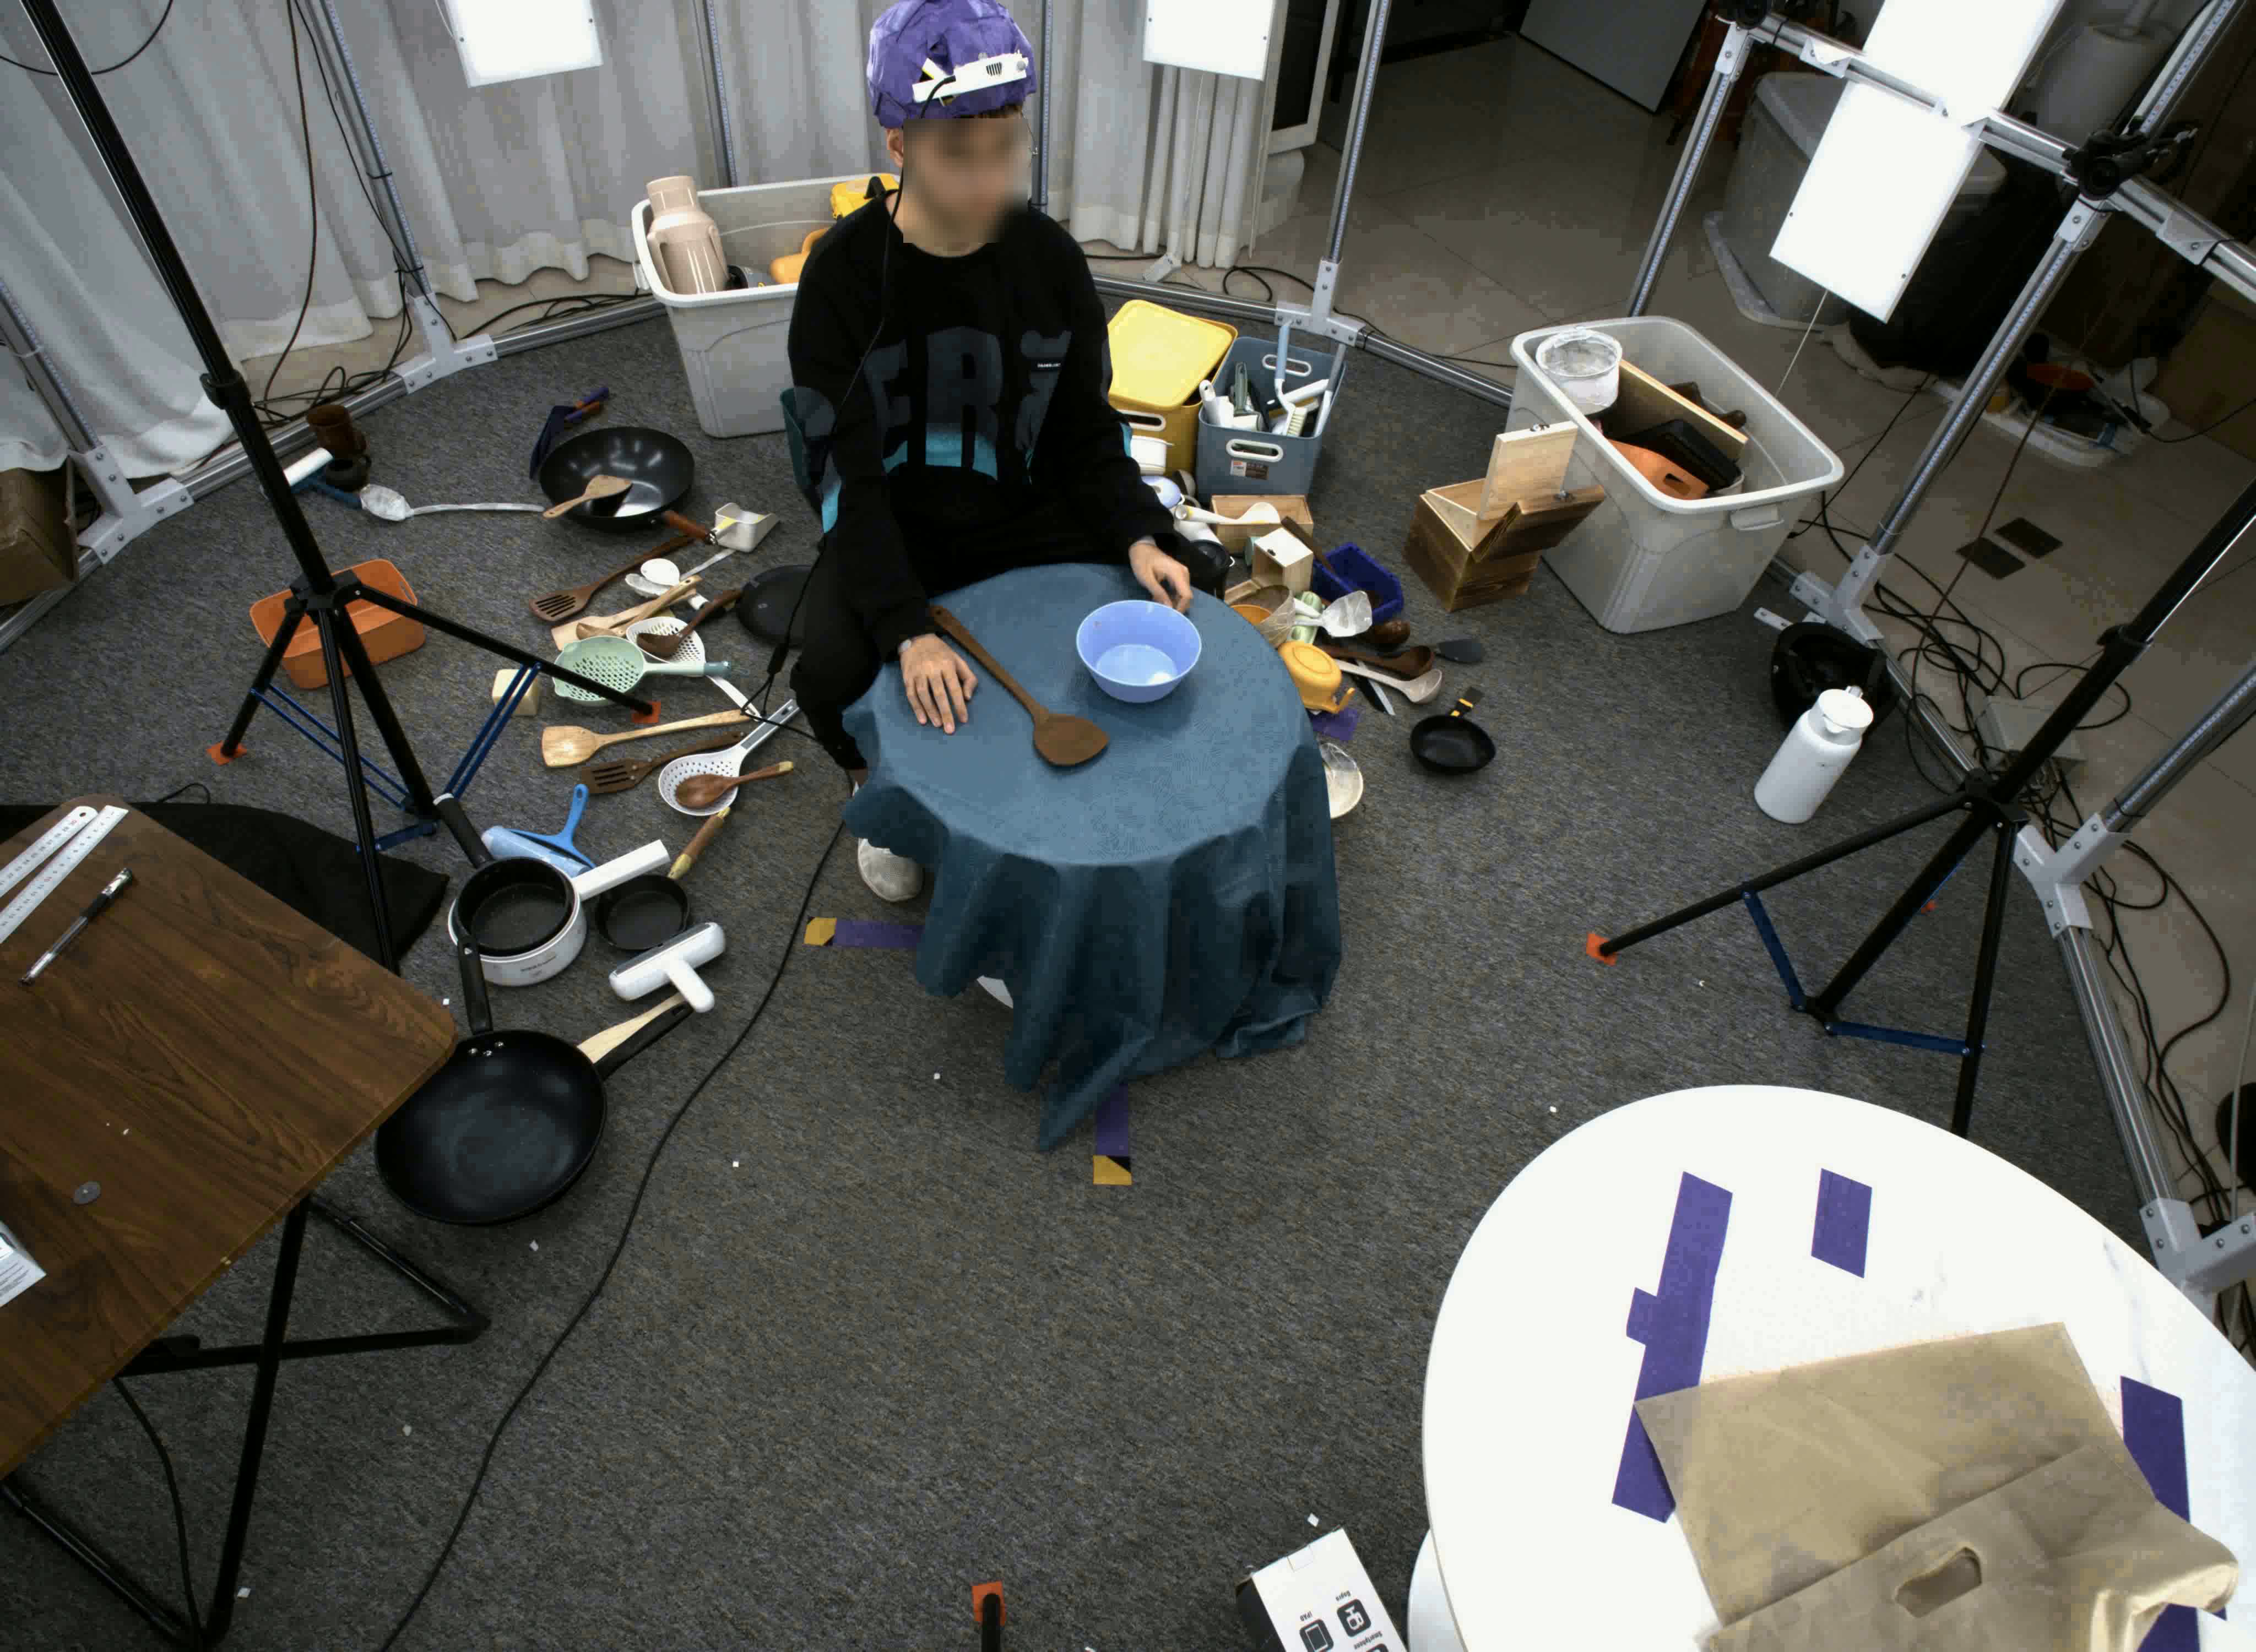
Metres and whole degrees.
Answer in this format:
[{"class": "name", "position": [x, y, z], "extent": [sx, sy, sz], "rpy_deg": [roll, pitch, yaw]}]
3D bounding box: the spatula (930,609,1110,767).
[{"class": "spatula", "position": [-0.173, -0.208, 1.846], "extent": [0.096, 0.015, 0.393], "rpy_deg": [-29, 56, -26]}]

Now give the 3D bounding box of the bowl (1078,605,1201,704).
[{"class": "bowl", "position": [0.015, -0.238, 1.848], "extent": [0.176, 0.068, 0.180], "rpy_deg": [1, 47, -2]}]
